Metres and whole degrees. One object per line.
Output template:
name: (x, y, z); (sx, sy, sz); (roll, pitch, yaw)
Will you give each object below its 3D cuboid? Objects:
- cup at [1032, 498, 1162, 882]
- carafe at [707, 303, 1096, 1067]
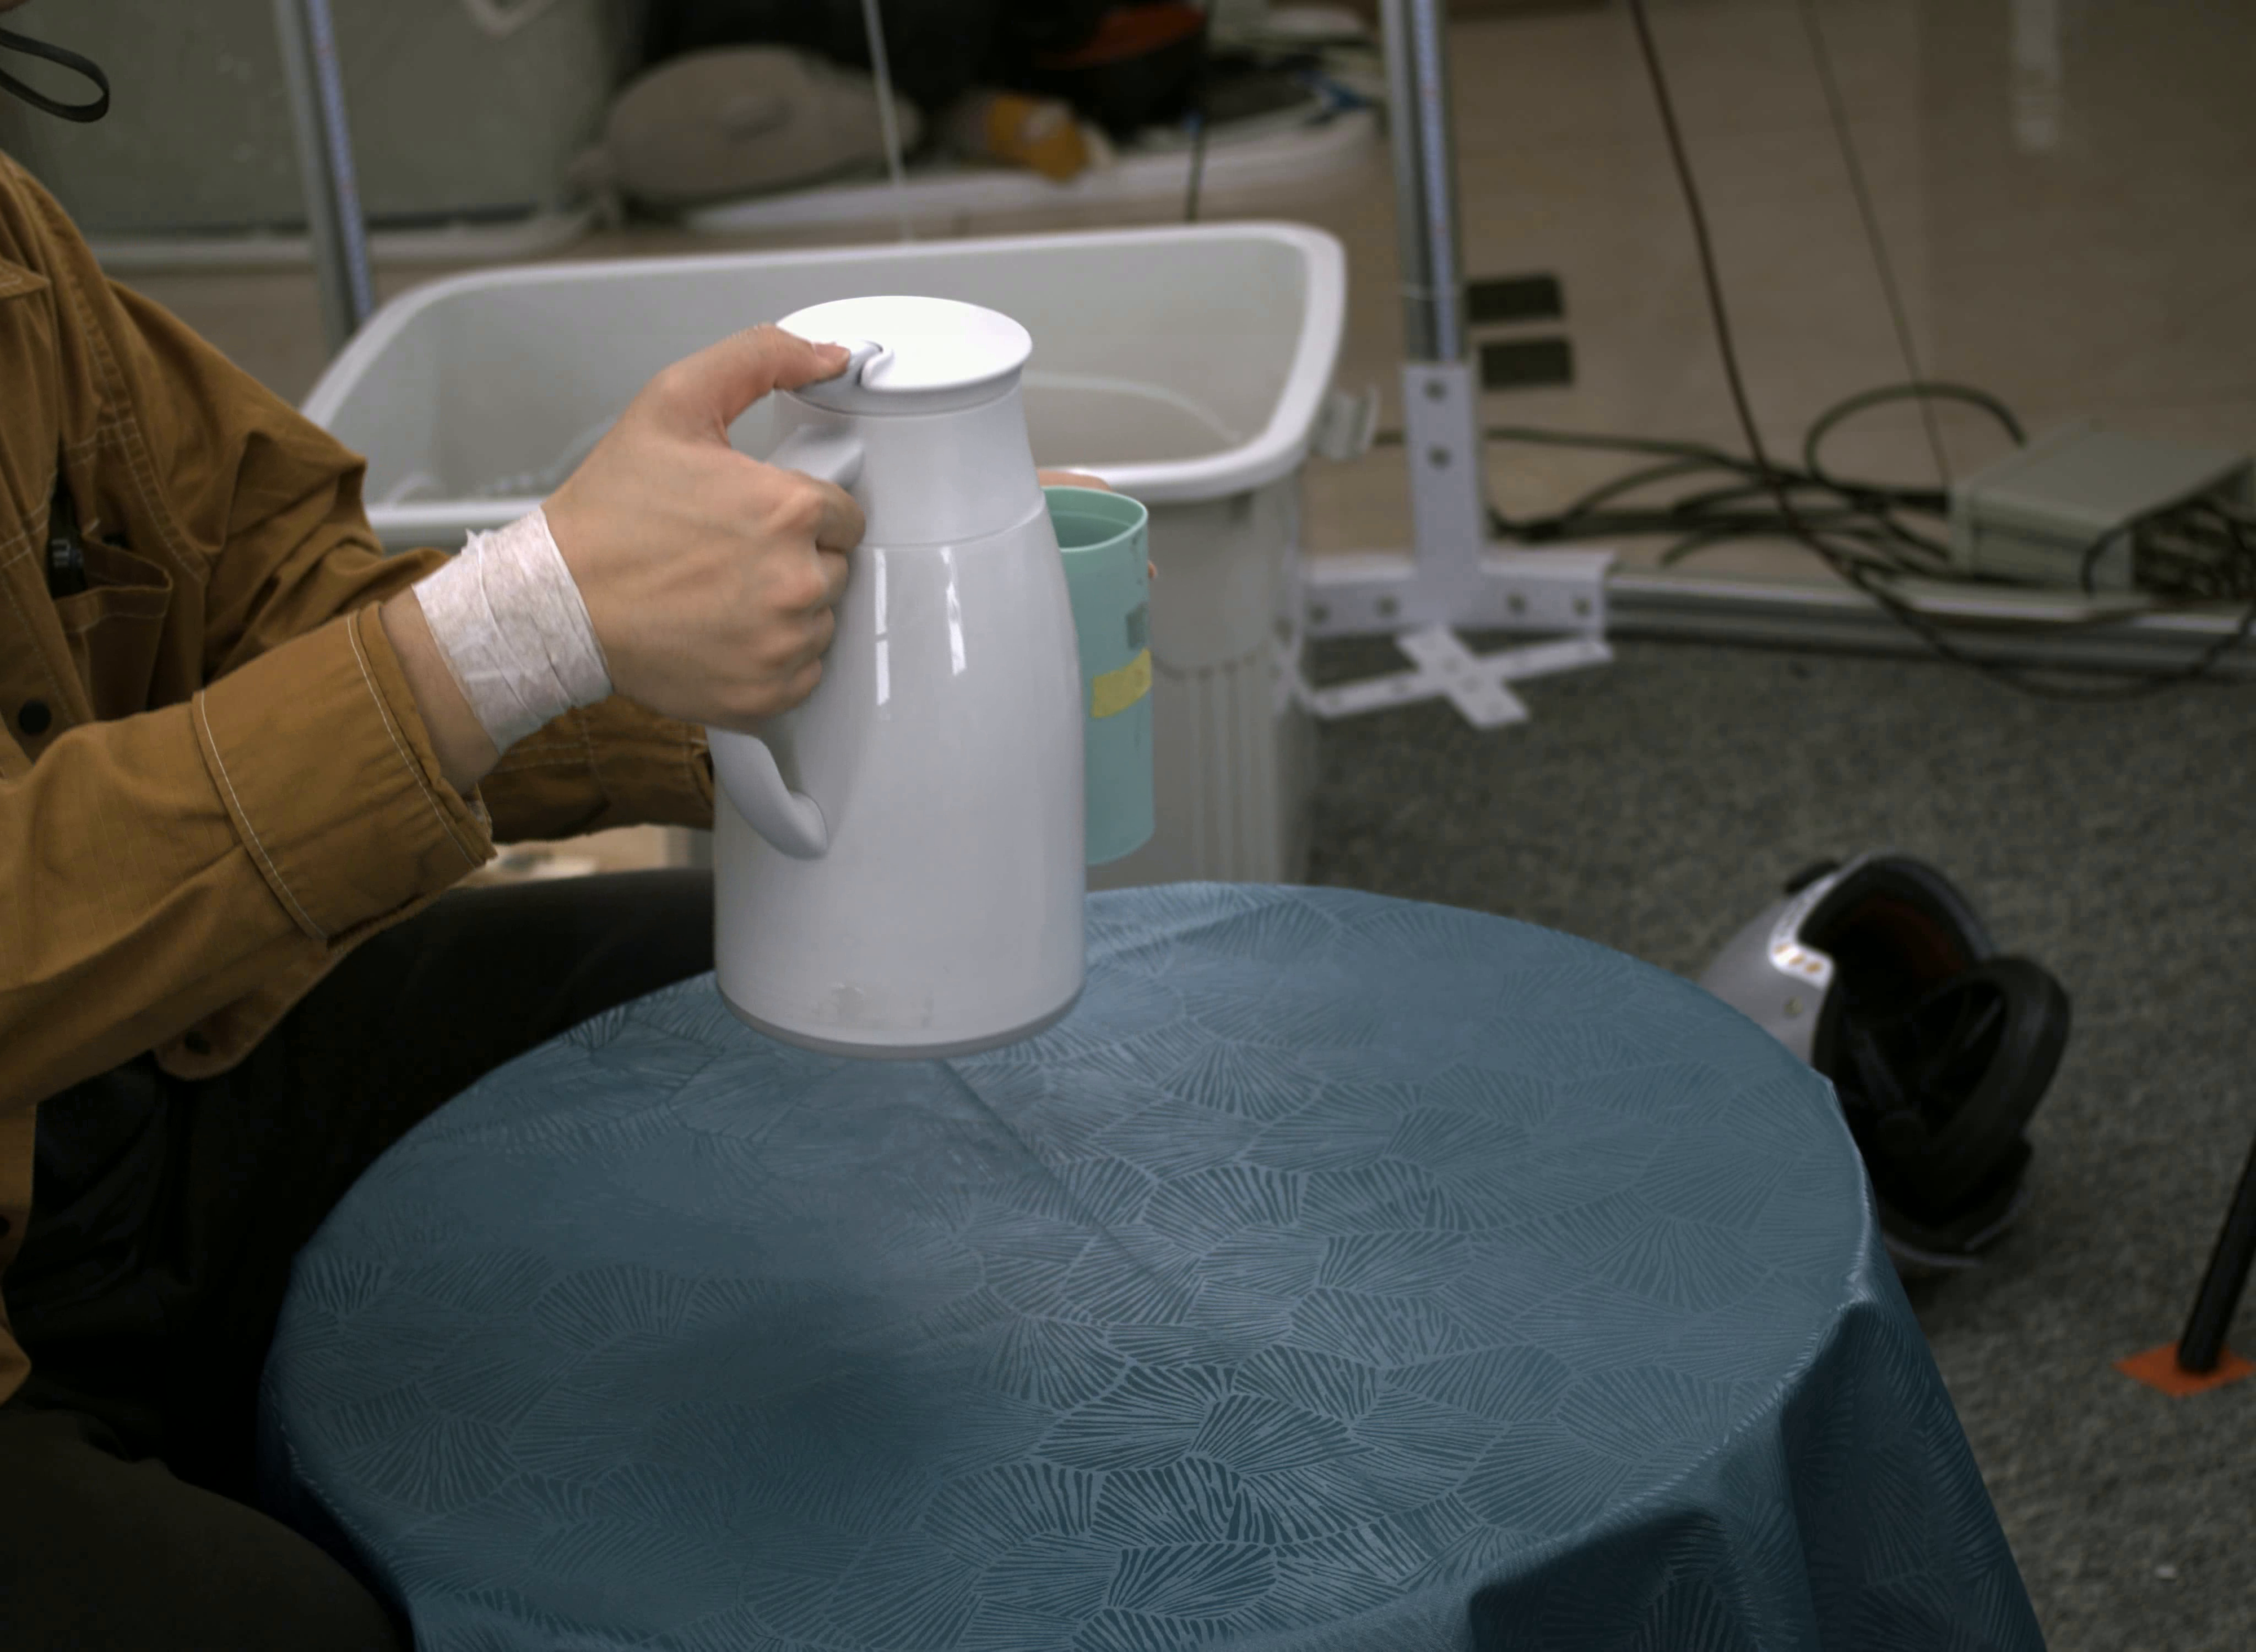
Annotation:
cup: (-0.021, -0.052, 2.146); (0.066, 0.134, 0.066); (-1, 26, 0)
carafe: (-0.086, -0.048, 1.945); (0.132, 0.252, 0.166); (15, 30, 28)
